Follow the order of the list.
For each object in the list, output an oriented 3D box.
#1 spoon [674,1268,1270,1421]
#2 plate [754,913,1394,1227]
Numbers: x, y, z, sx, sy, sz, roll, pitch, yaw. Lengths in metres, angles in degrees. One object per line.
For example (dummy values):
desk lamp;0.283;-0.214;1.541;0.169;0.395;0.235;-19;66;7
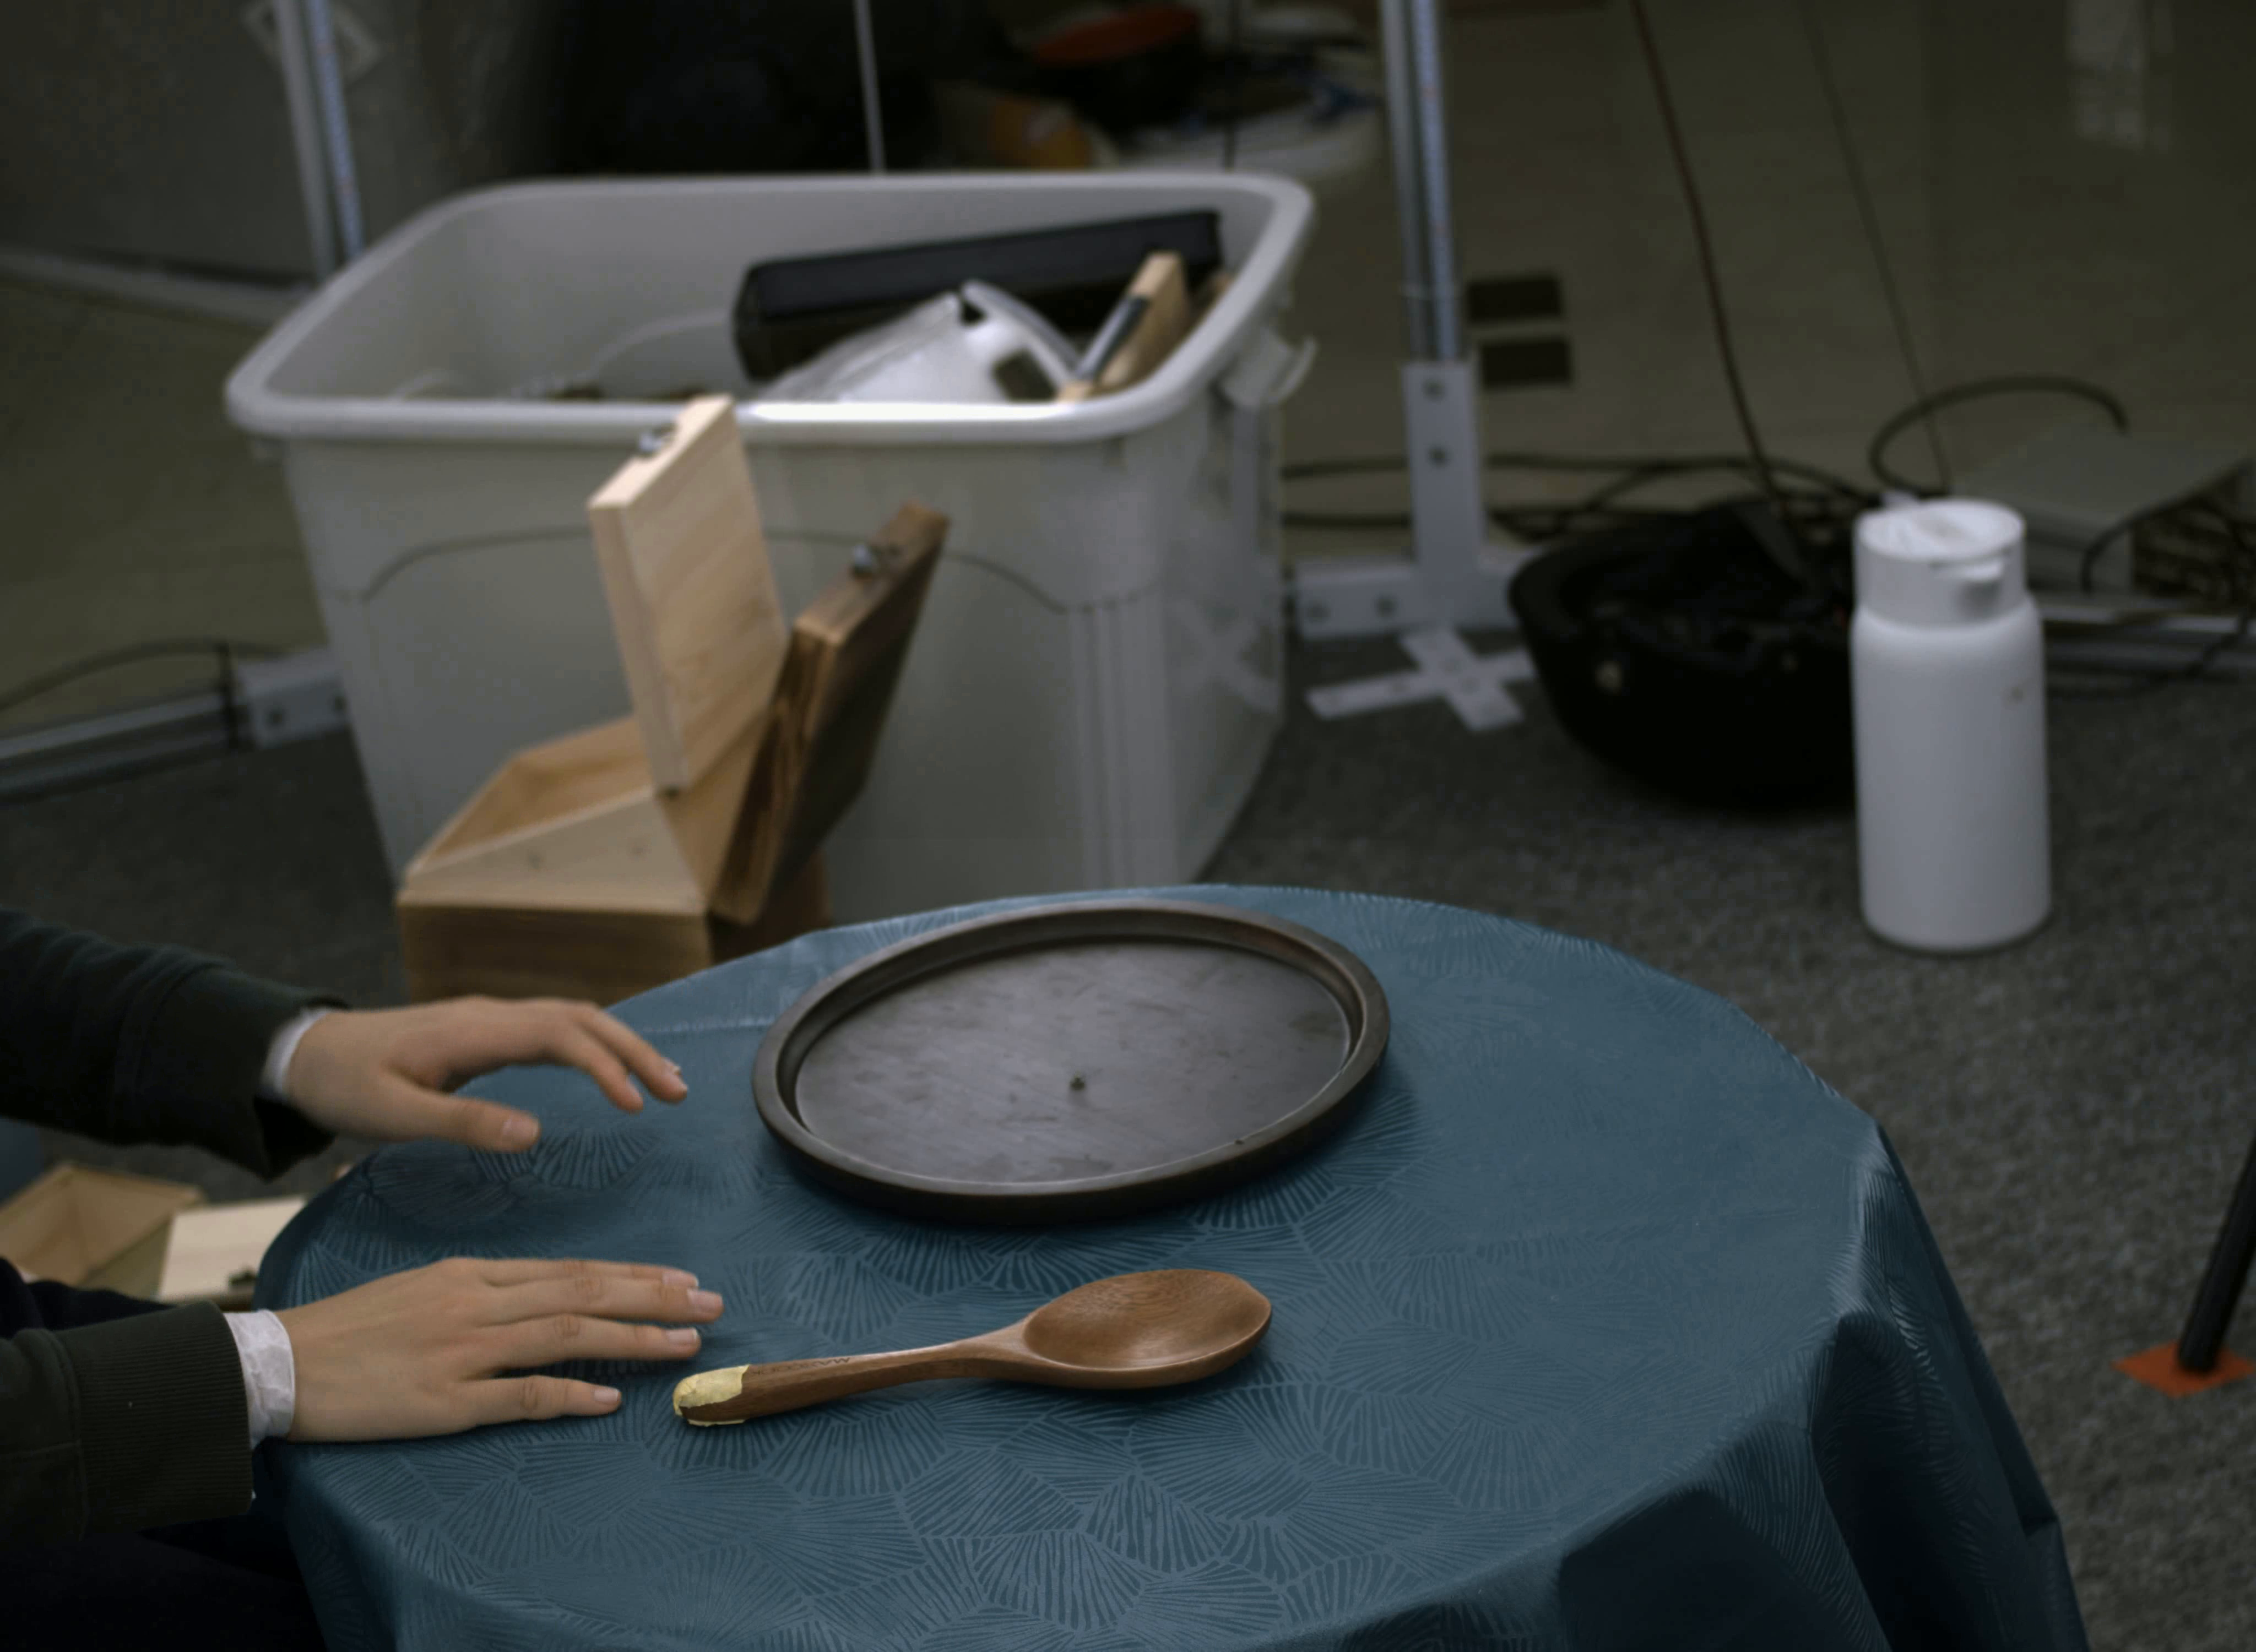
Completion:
spoon;-0.055;0.191;2.033;0.215;0.017;0.074;-7;25;-3
plate;-0.021;0.094;2.229;0.254;0.029;0.251;-4;24;2
